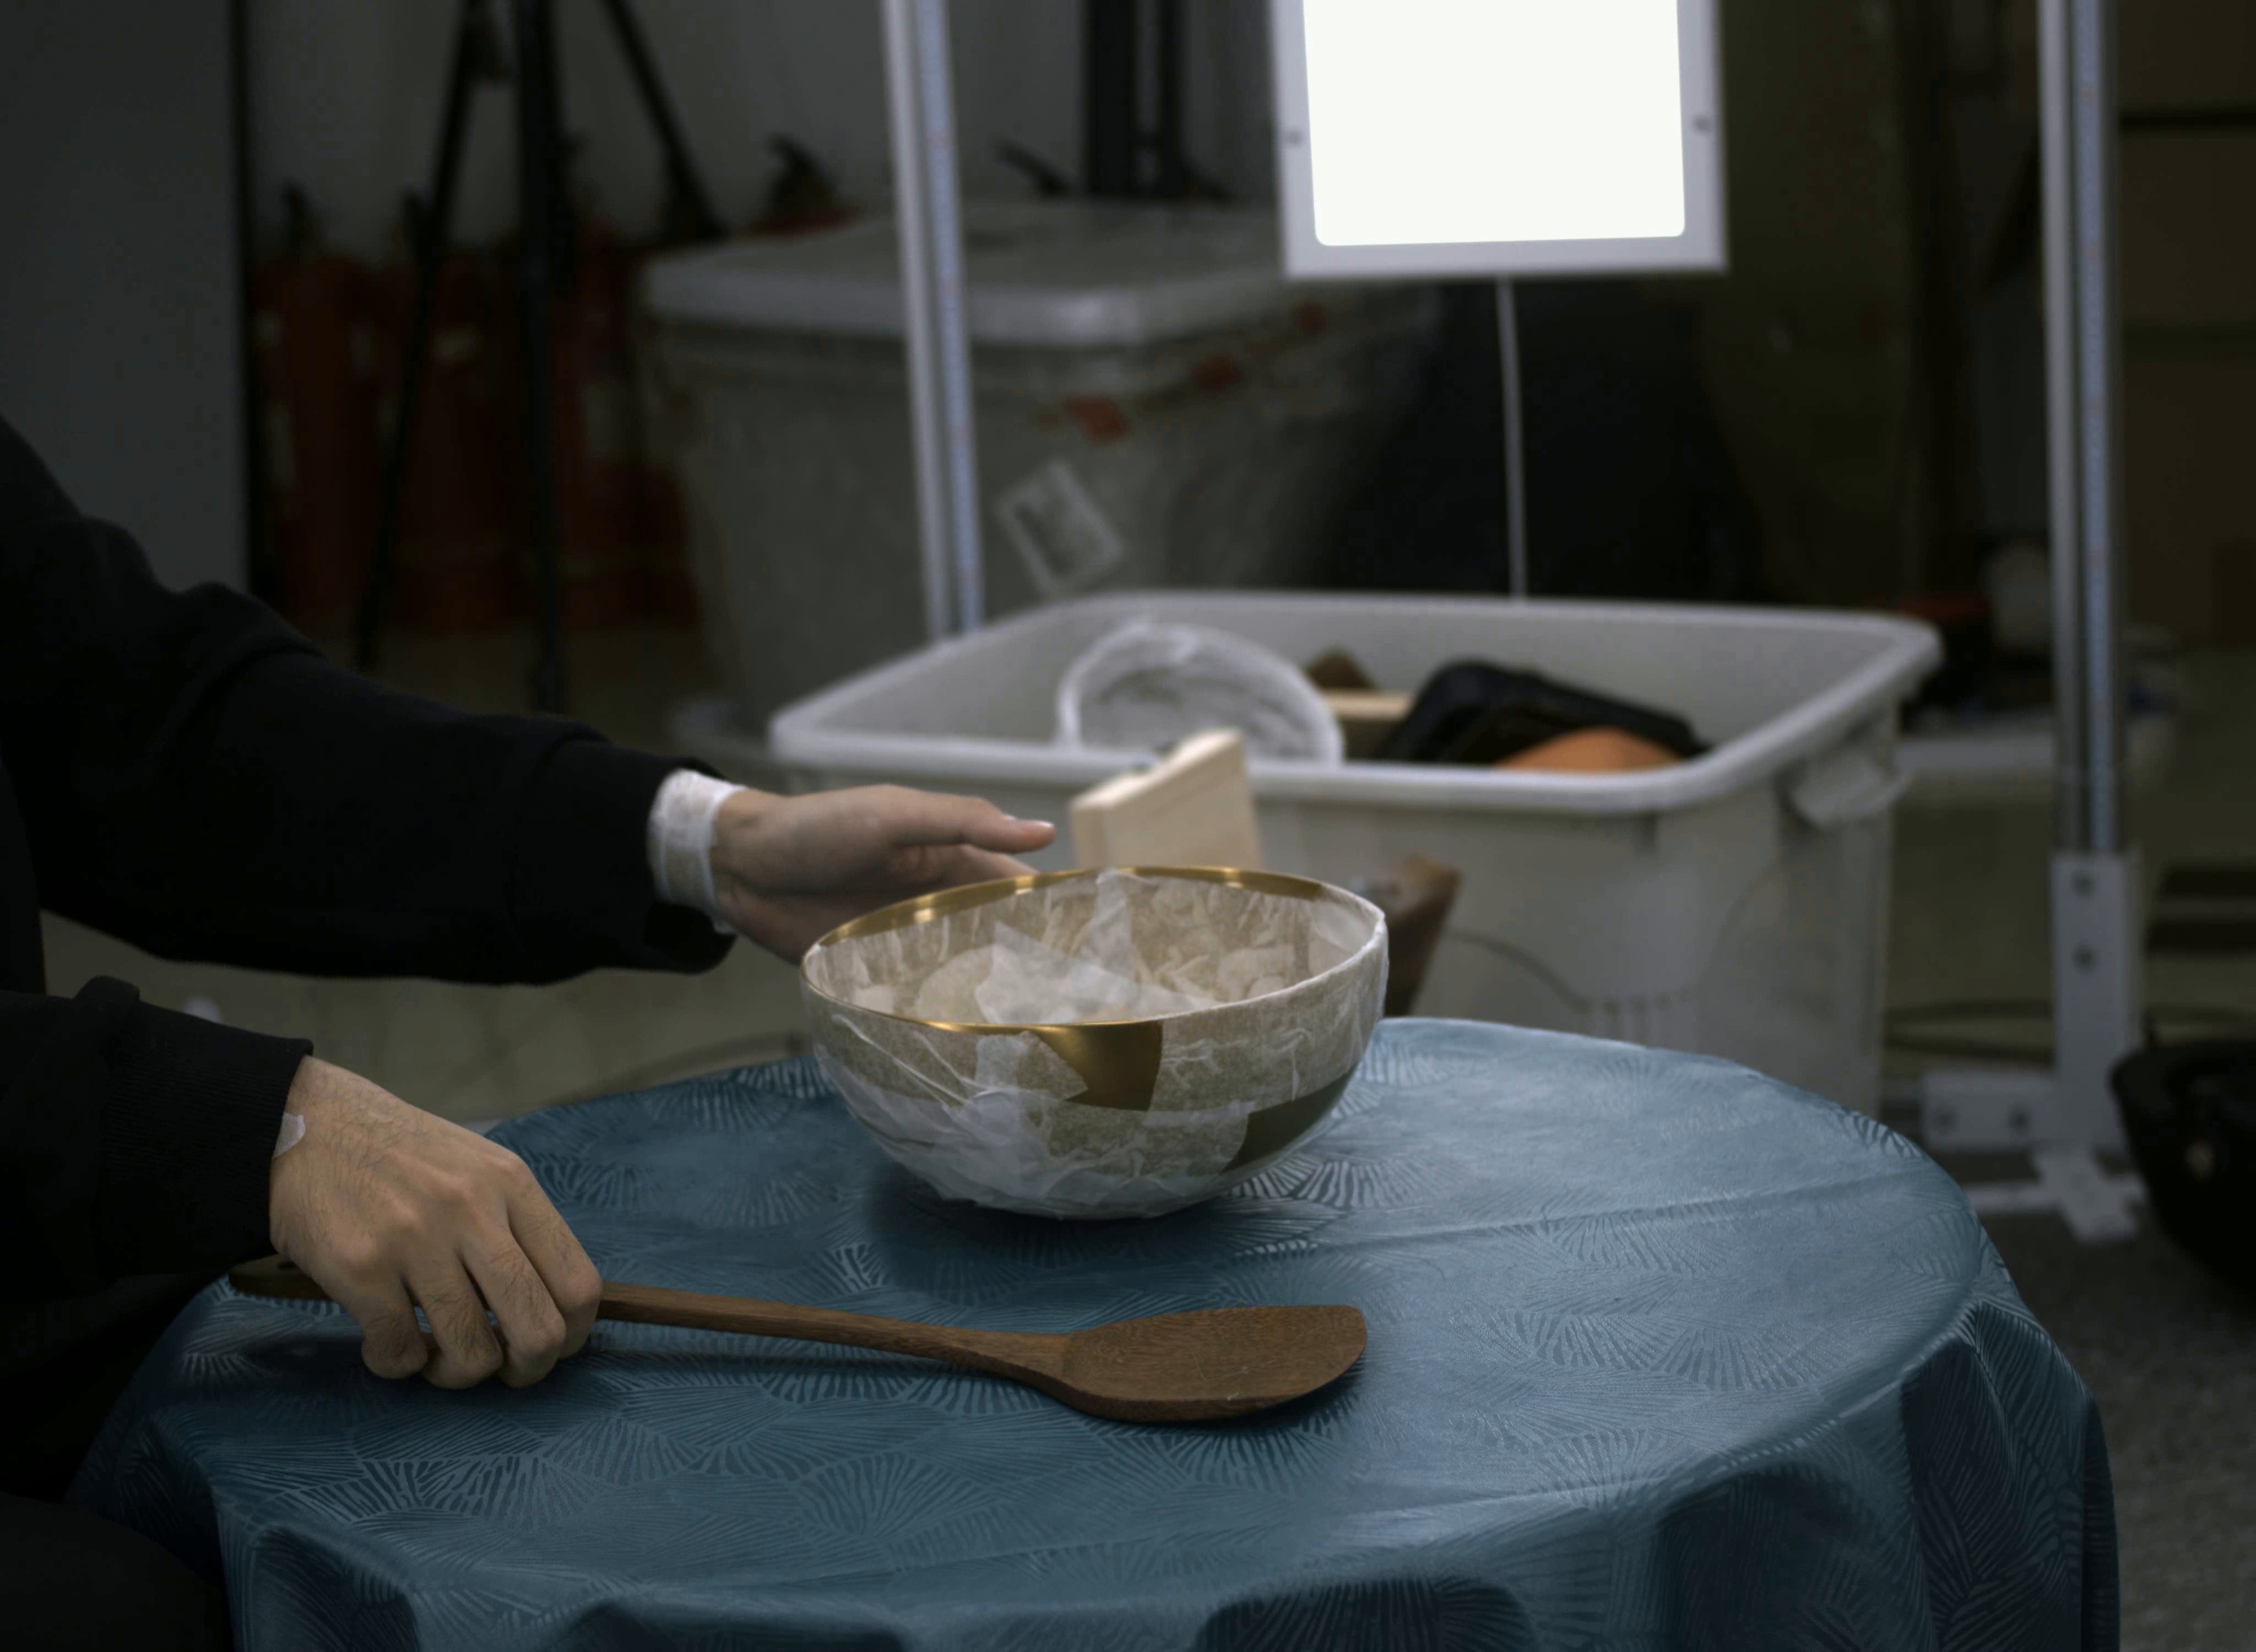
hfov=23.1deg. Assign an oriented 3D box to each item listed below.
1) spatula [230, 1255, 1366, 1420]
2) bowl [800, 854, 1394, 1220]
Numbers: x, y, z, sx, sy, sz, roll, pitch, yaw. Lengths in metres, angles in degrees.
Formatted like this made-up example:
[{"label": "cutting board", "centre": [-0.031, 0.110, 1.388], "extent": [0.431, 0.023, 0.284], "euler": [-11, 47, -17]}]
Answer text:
[{"label": "spatula", "centre": [-0.113, 0.158, 1.756], "extent": [0.391, 0.016, 0.094], "euler": [3, 14, 20]}, {"label": "bowl", "centre": [-0.010, 0.080, 1.892], "extent": [0.214, 0.095, 0.214], "euler": [-6, 15, 0]}]
